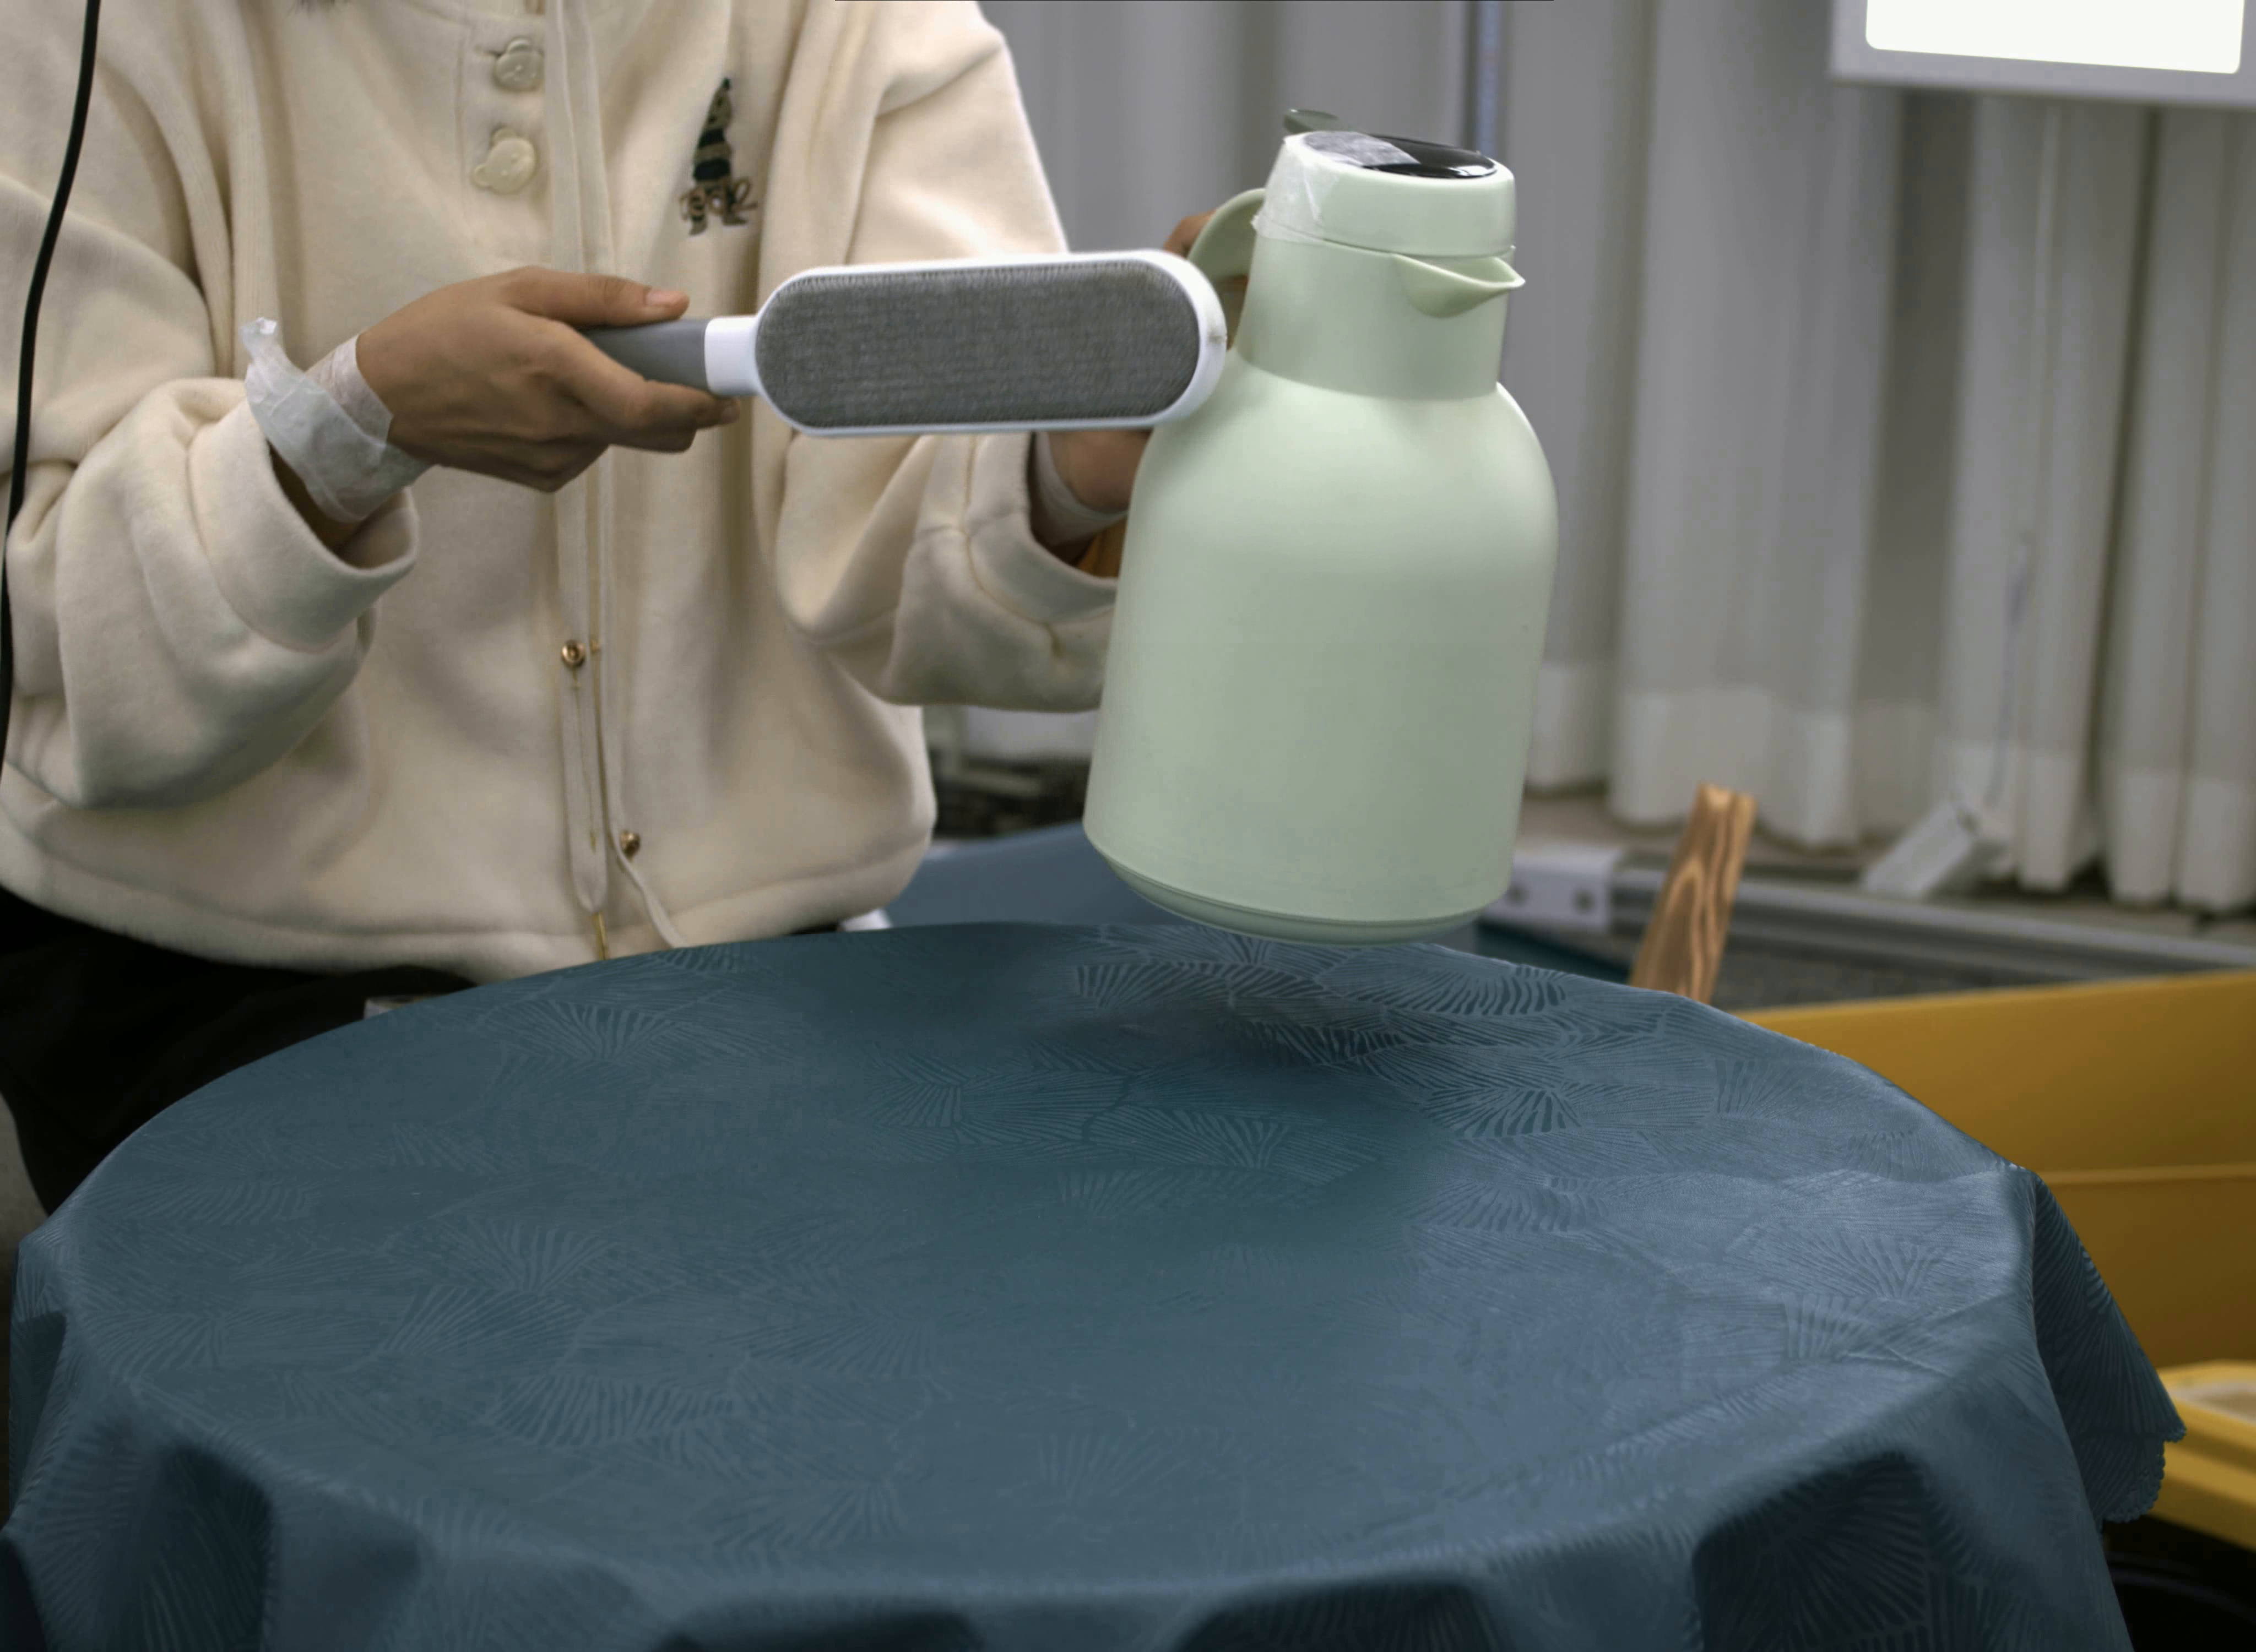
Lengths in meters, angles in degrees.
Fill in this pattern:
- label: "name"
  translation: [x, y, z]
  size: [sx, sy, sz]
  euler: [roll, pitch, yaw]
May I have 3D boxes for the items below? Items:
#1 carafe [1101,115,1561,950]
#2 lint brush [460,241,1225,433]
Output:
- label: "carafe"
  translation: [0.065, -0.101, 1.745]
  size: [0.145, 0.259, 0.184]
  euler: [-4, 18, -28]
- label: "lint brush"
  translation: [-0.100, -0.161, 1.749]
  size: [0.305, 0.060, 0.021]
  euler: [0, 8, 32]
